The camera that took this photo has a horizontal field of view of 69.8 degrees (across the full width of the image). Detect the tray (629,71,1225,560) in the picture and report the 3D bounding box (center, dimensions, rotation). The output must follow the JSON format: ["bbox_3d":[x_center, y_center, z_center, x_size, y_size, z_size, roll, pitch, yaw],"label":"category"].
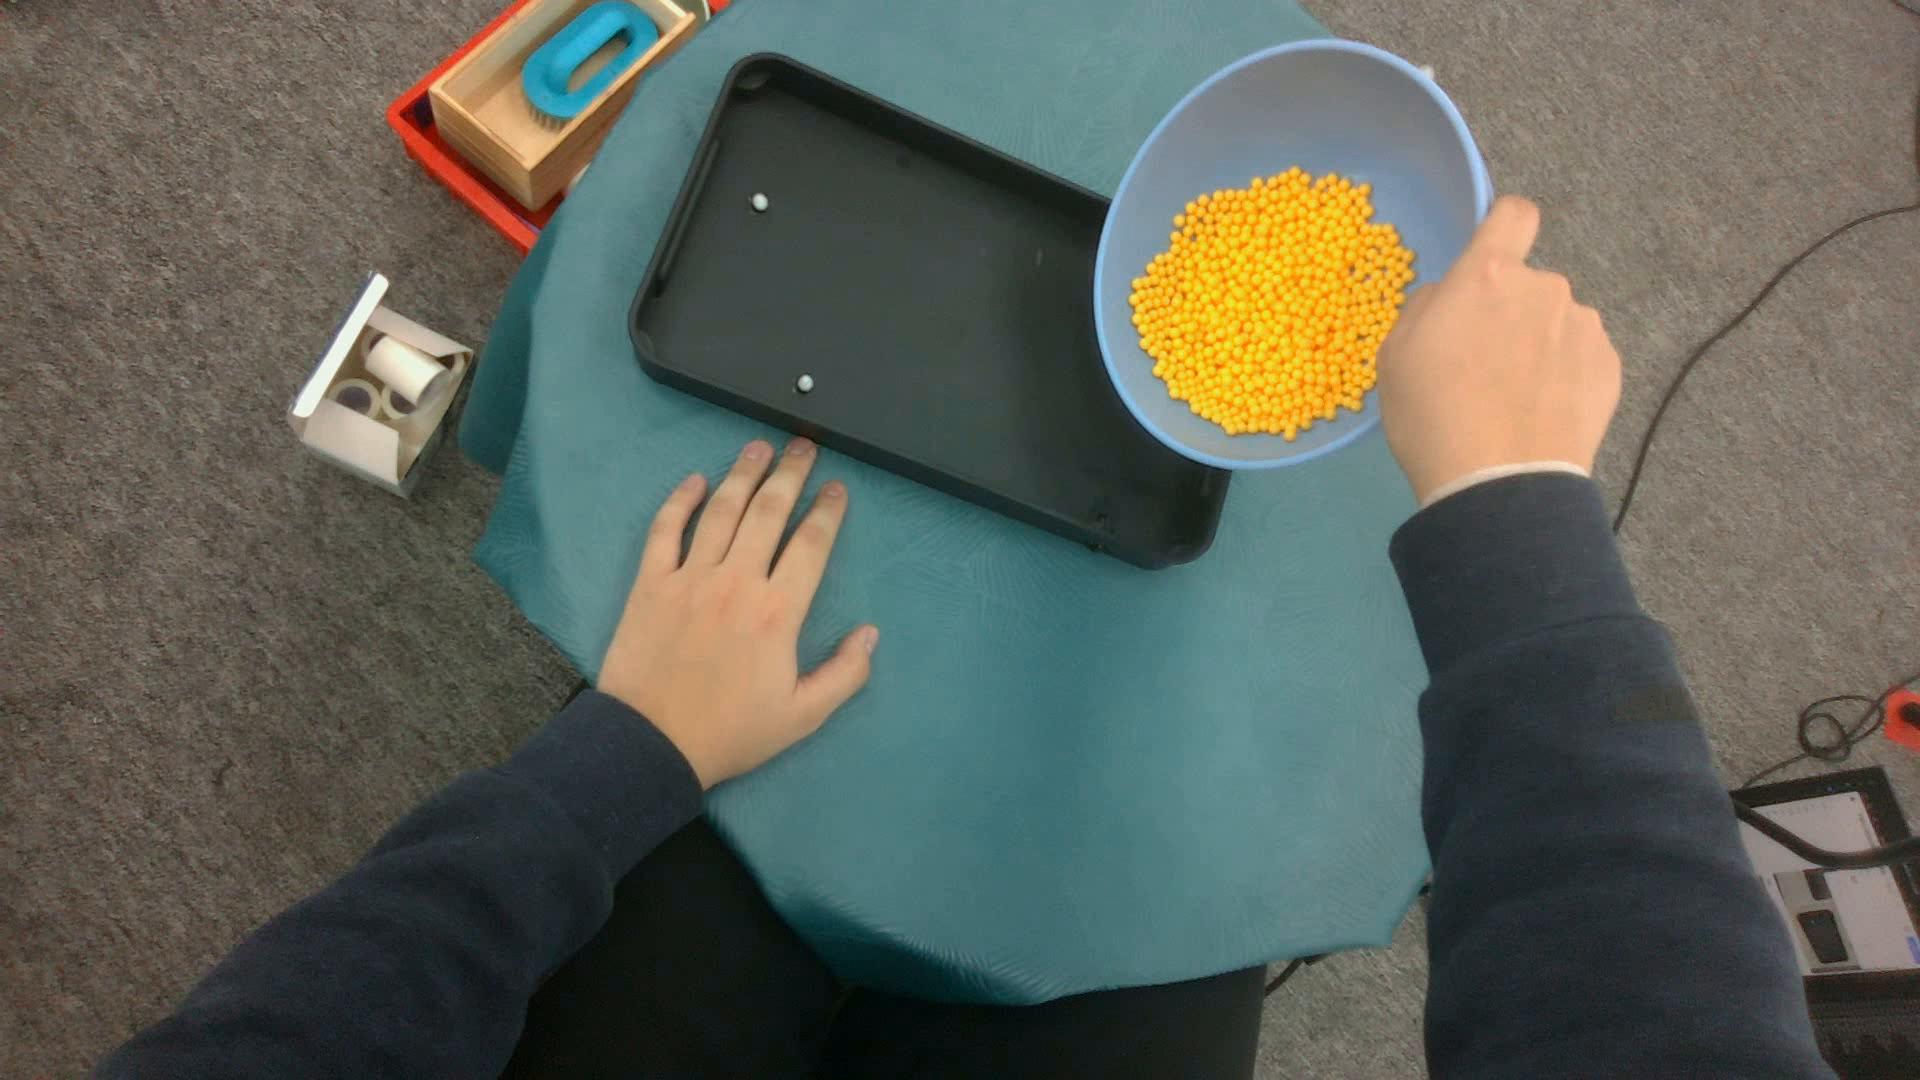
[{"bbox_3d":[0.000,-0.117,0.741,0.318,0.037,0.185,18,74,-10],"label":"tray"}]

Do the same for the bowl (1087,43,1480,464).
[{"bbox_3d":[0.168,-0.130,0.674,0.095,0.195,0.197,7,73,-47],"label":"bowl"}]
